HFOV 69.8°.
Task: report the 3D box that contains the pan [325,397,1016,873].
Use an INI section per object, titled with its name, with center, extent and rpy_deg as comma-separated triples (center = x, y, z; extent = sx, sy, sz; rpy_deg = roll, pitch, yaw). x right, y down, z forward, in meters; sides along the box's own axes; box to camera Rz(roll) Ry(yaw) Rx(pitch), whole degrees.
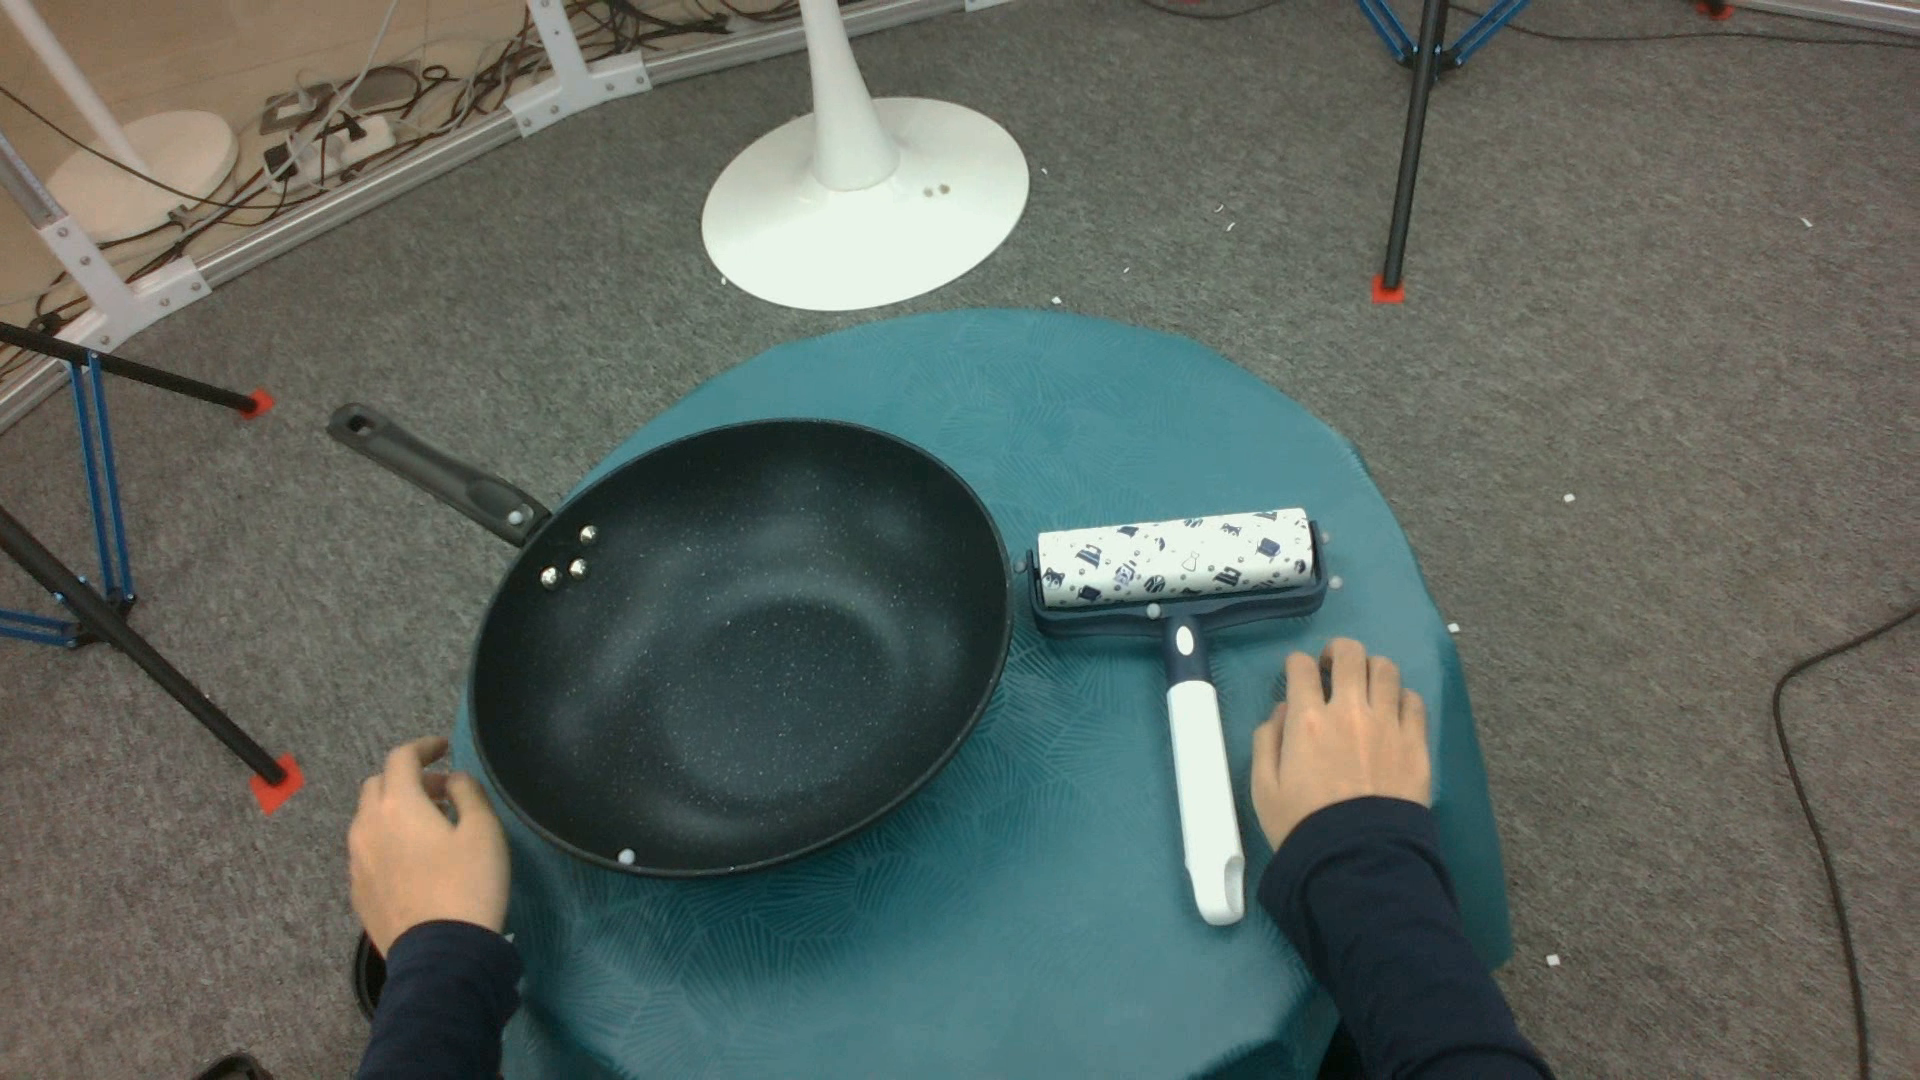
[pan]
center = -0.191, 0.030, 0.823
extent = 0.476, 0.111, 0.311
rpy_deg = 21, 56, 23

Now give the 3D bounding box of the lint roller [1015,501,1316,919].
[lint roller]
center = 0.127, 0.086, 0.771
extent = 0.176, 0.050, 0.248
rpy_deg = -6, 53, 3
